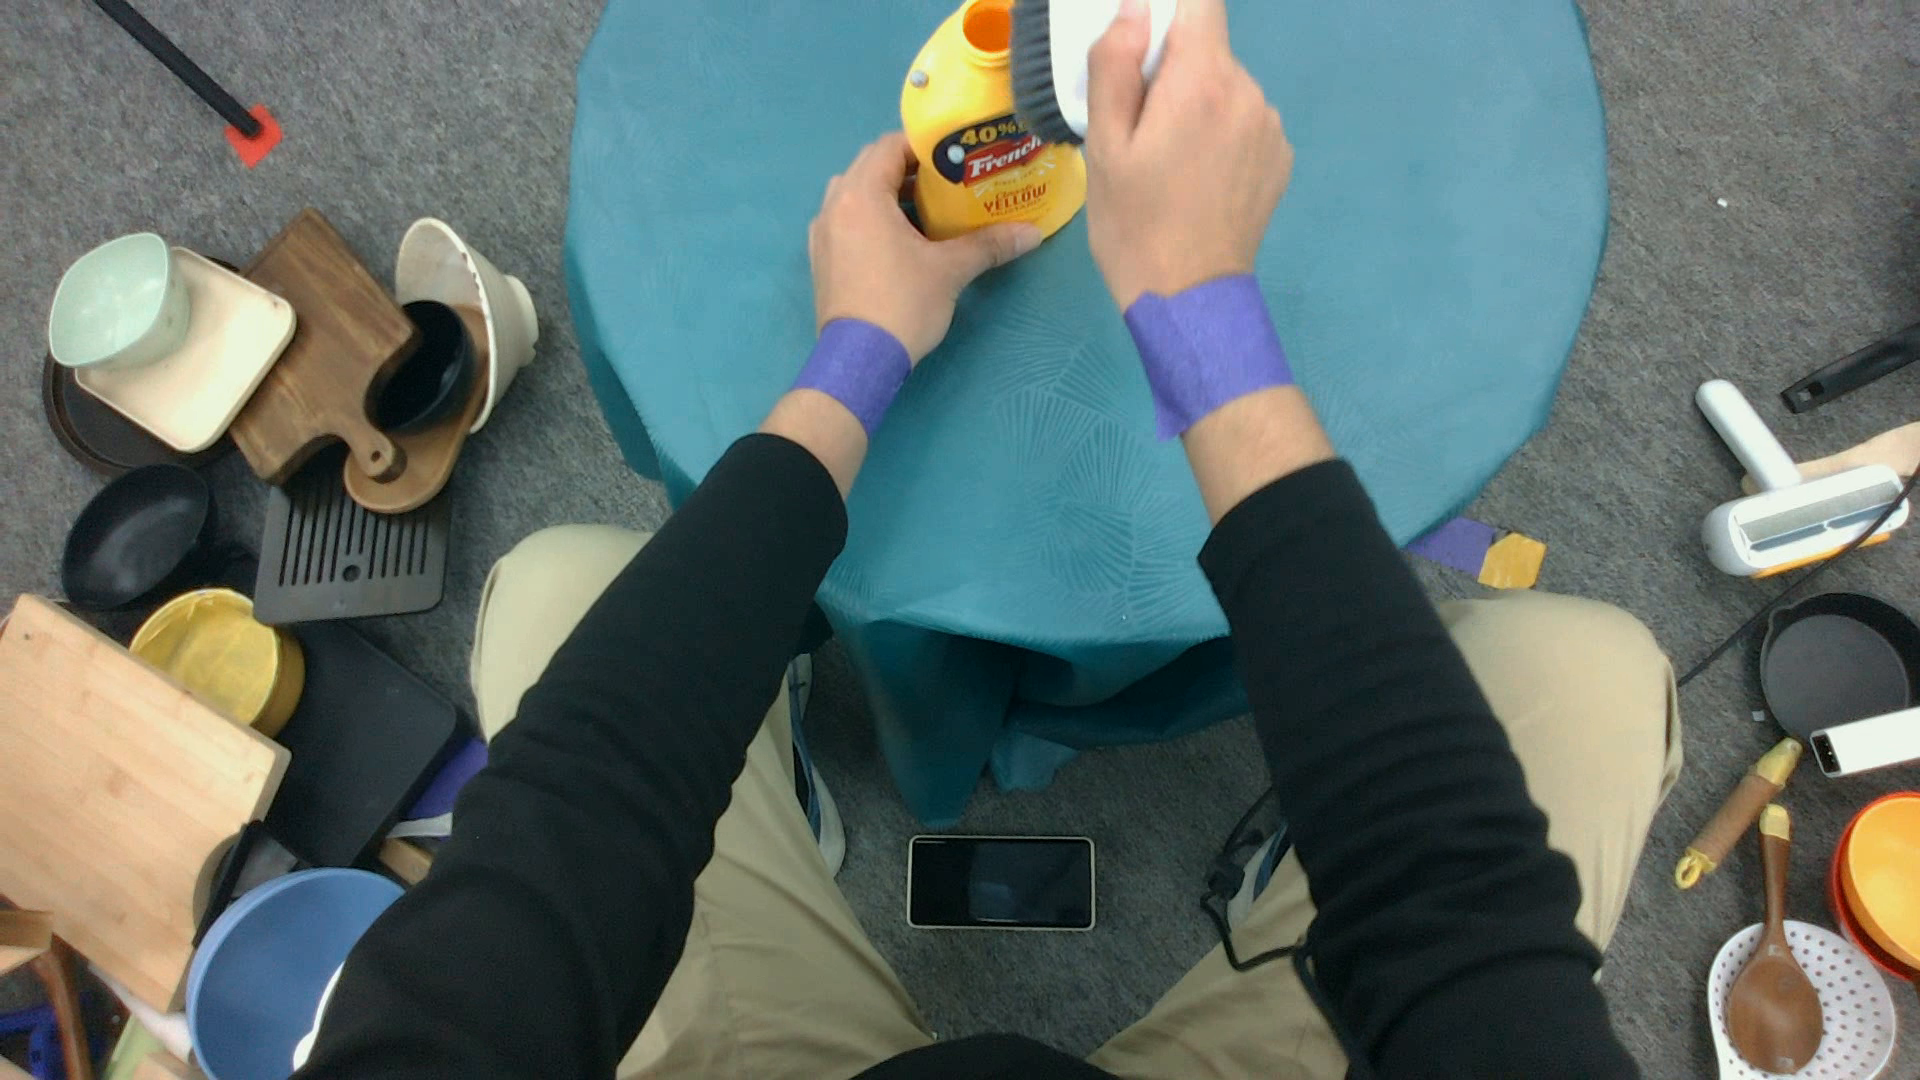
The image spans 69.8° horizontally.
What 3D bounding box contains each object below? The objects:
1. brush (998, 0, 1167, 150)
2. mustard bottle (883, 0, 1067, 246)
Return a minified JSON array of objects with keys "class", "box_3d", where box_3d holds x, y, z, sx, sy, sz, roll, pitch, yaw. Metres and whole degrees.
[{"class":"brush","box_3d":[0.058,-0.224,0.597,0.050,0.072,0.099,1,94,-38]},{"class":"mustard bottle","box_3d":[0.010,-0.216,0.711,0.098,0.171,0.059,-20,77,-5]}]
